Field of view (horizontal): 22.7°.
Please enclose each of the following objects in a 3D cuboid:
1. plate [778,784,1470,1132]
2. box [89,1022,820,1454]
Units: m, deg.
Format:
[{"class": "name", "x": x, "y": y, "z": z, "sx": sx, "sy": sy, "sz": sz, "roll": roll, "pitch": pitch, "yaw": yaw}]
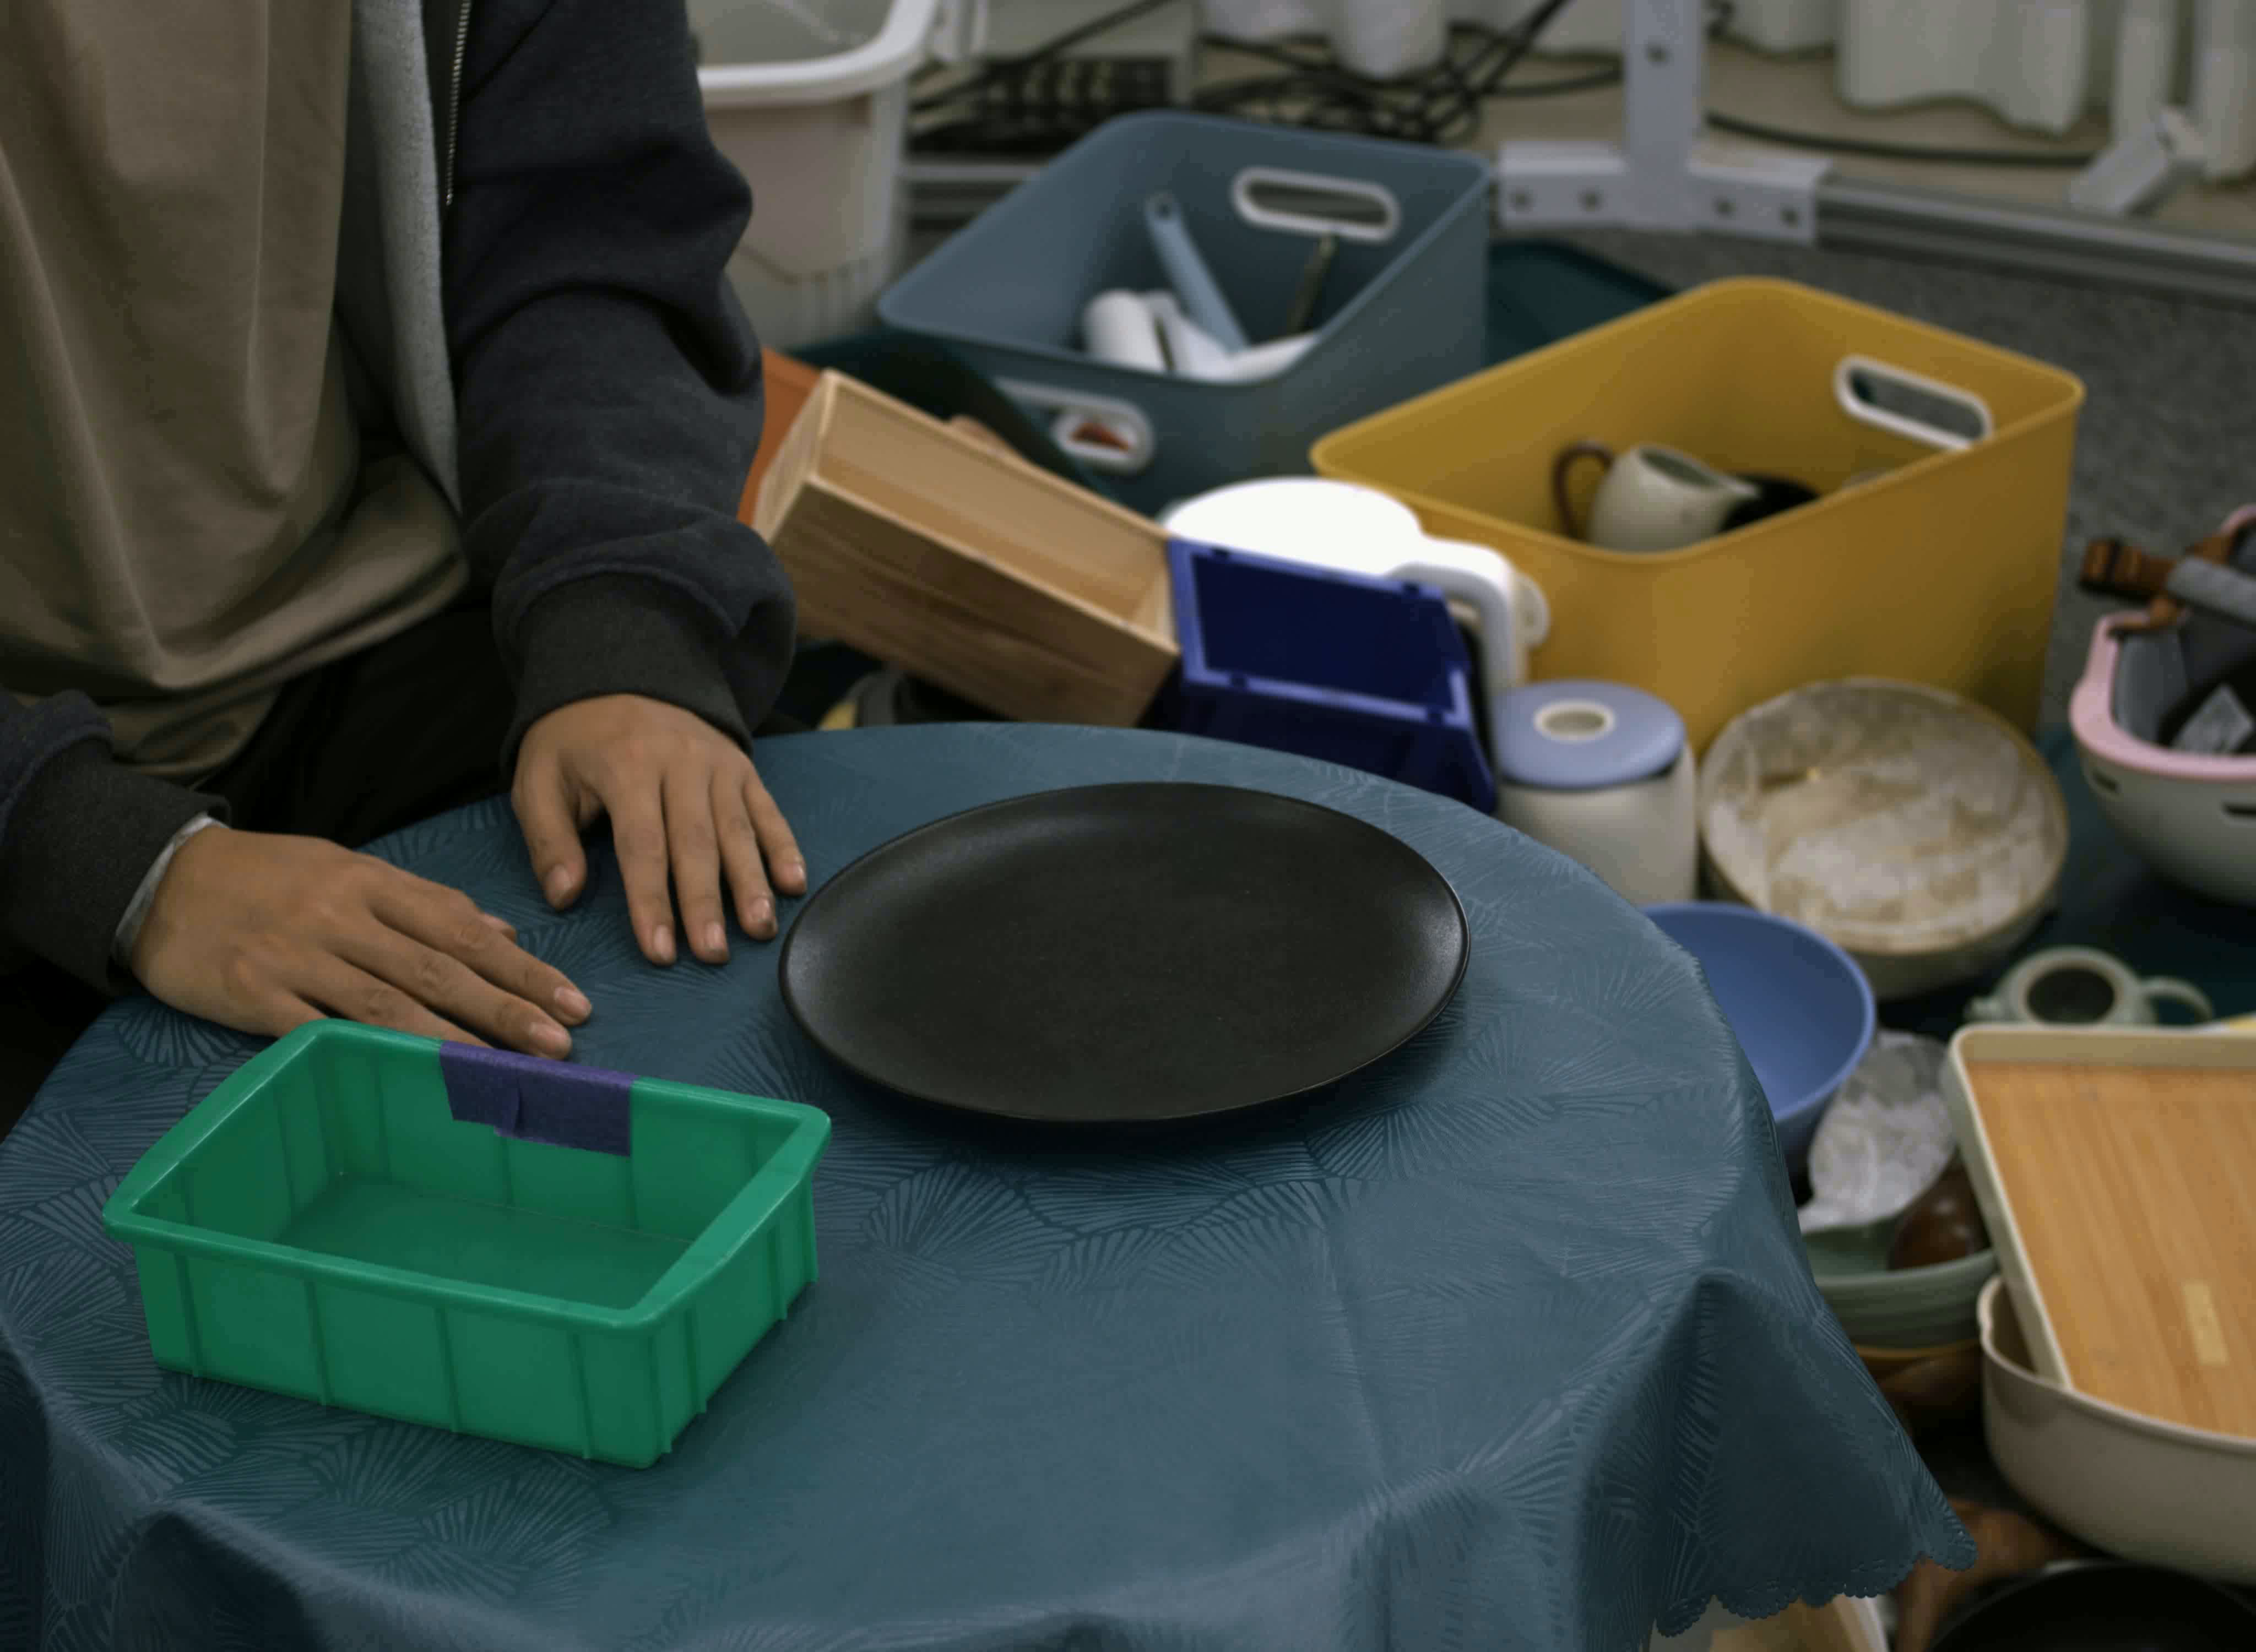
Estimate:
[{"class": "plate", "x": -0.001, "y": 0.051, "z": 1.974, "sx": 0.243, "sy": 0.023, "sz": 0.248, "roll": -2, "pitch": 28, "yaw": 2}, {"class": "box", "x": -0.211, "y": 0.133, "z": 1.794, "sx": 0.209, "sy": 0.065, "sz": 0.141, "roll": 6, "pitch": 27, "yaw": 22}]
